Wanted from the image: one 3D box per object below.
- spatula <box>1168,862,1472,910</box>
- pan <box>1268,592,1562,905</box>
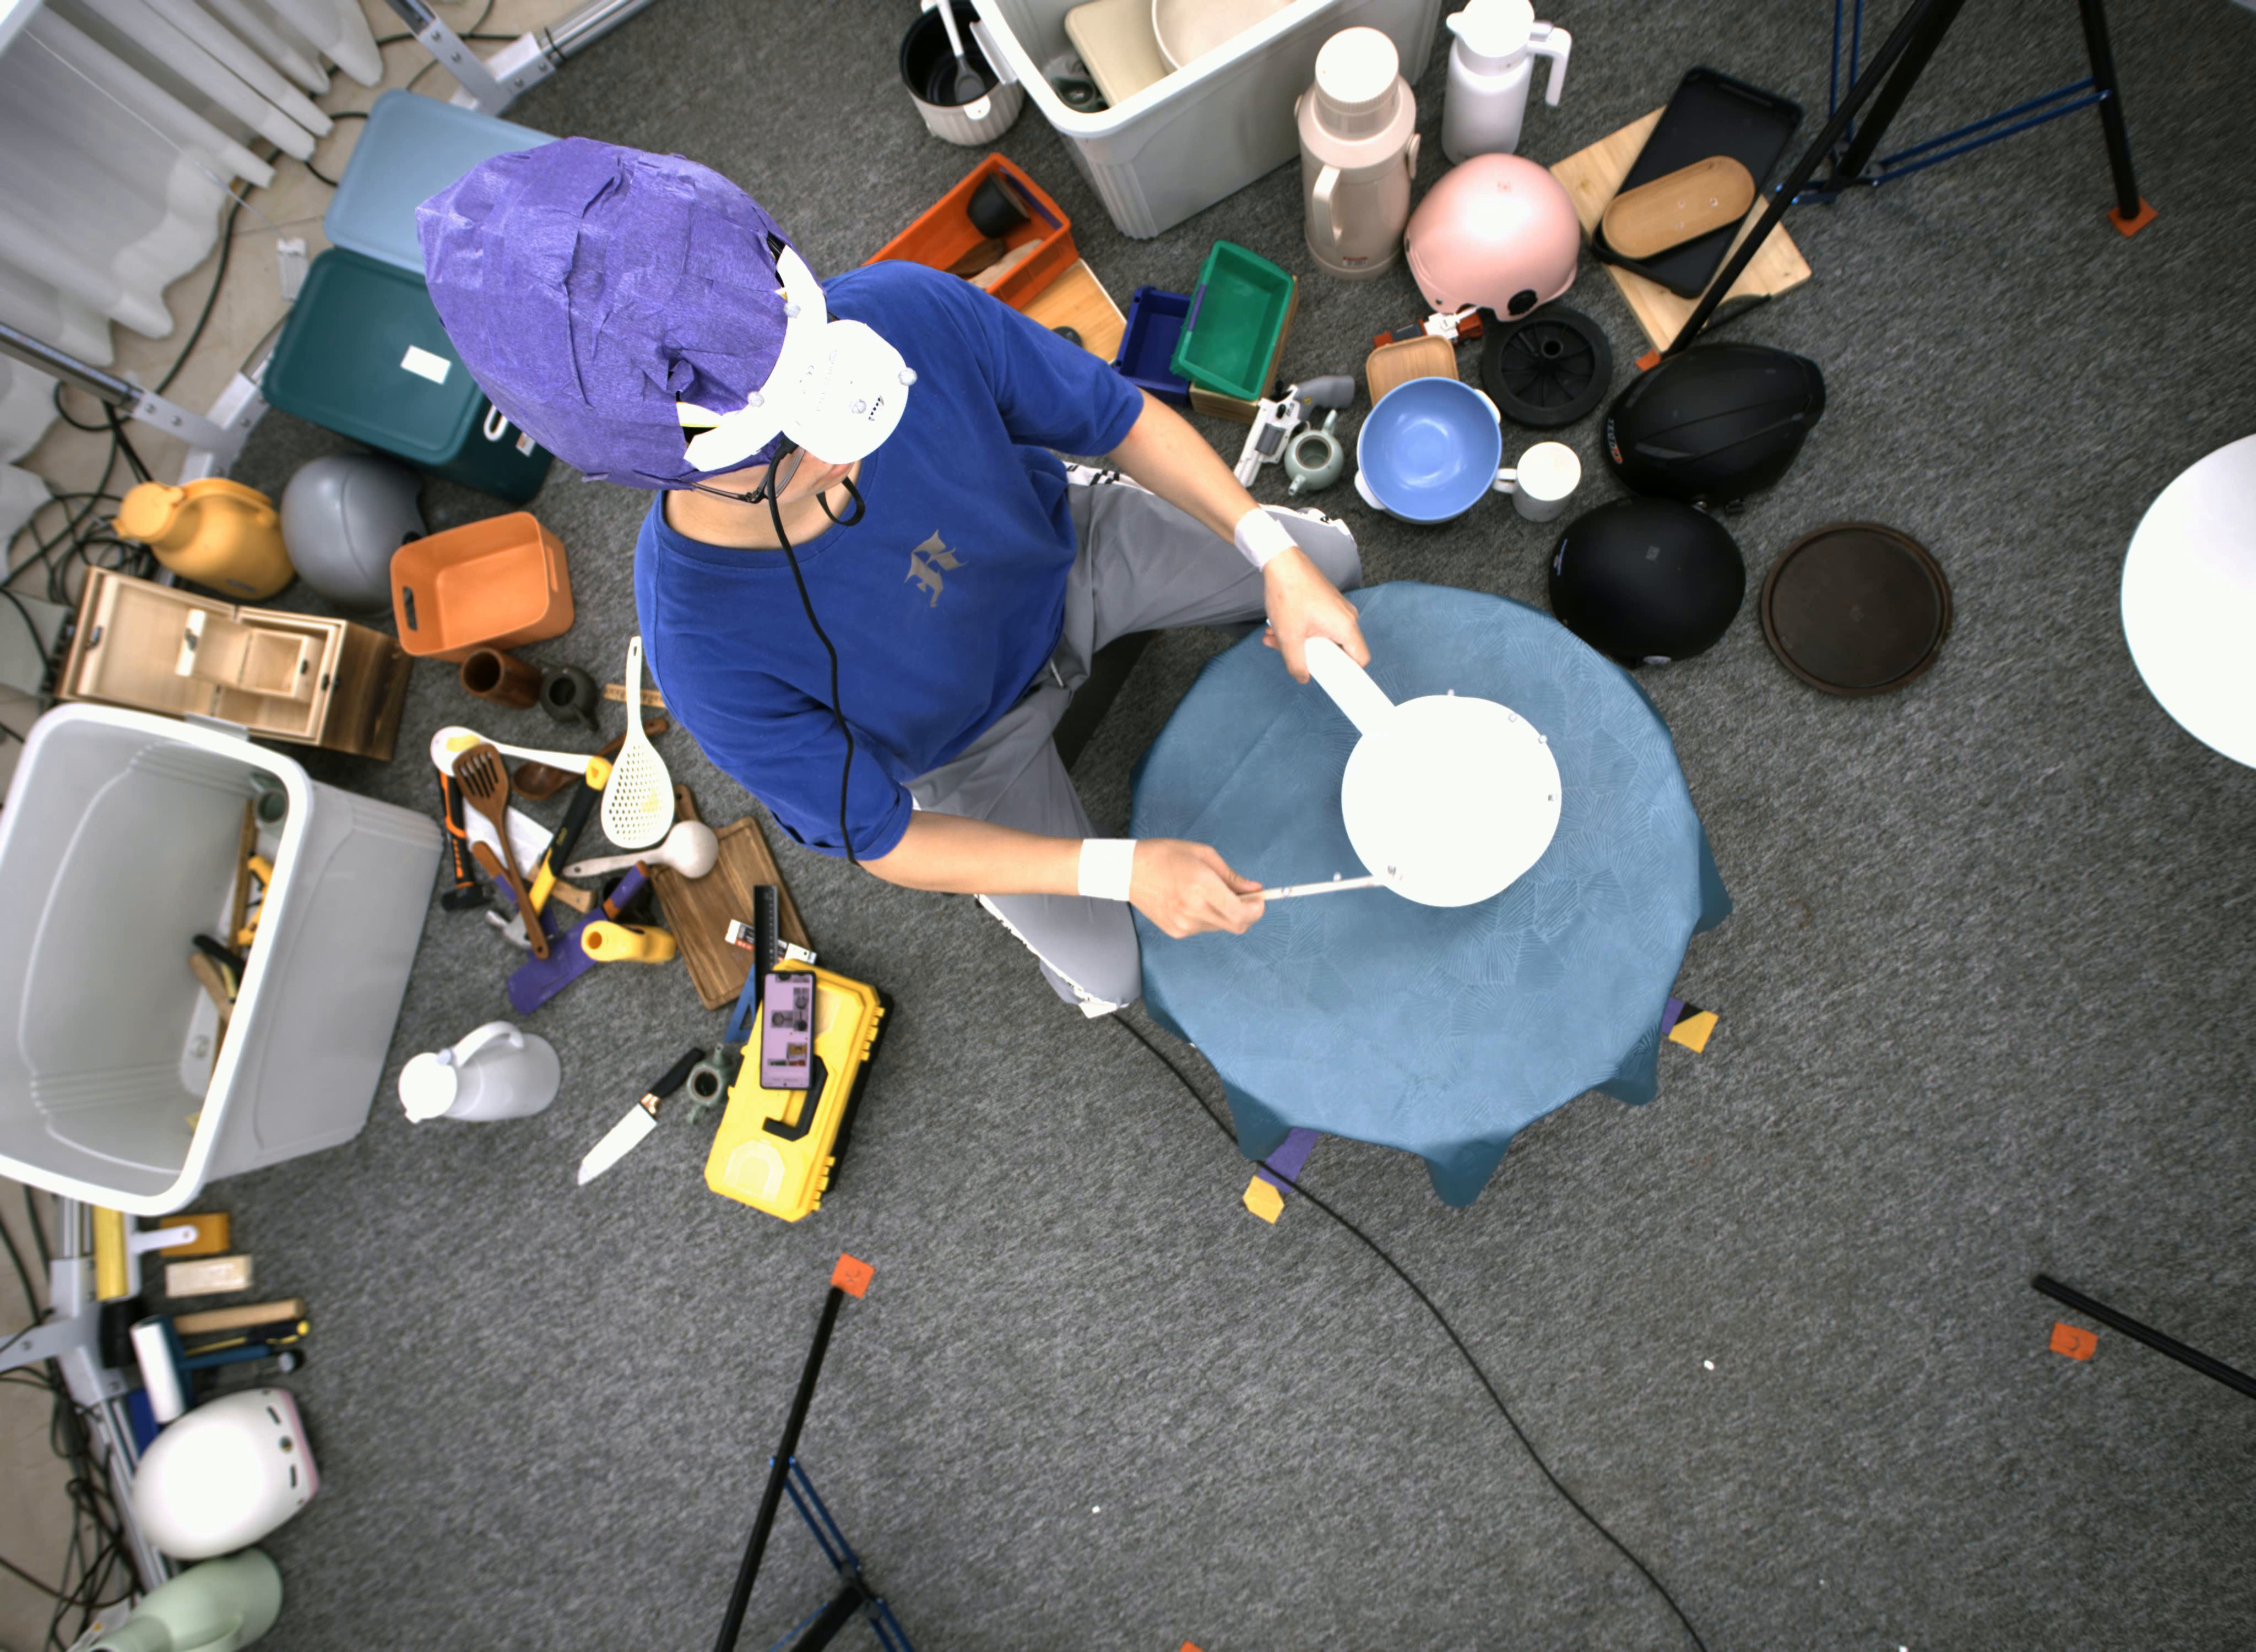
[{"bbox_3d":[0.173,0.059,1.297,0.296,0.071,0.011,-8,94,25],"label":"spatula"},{"bbox_3d":[0.276,-0.090,1.362,0.352,0.100,0.205,52,122,13],"label":"pan"}]
